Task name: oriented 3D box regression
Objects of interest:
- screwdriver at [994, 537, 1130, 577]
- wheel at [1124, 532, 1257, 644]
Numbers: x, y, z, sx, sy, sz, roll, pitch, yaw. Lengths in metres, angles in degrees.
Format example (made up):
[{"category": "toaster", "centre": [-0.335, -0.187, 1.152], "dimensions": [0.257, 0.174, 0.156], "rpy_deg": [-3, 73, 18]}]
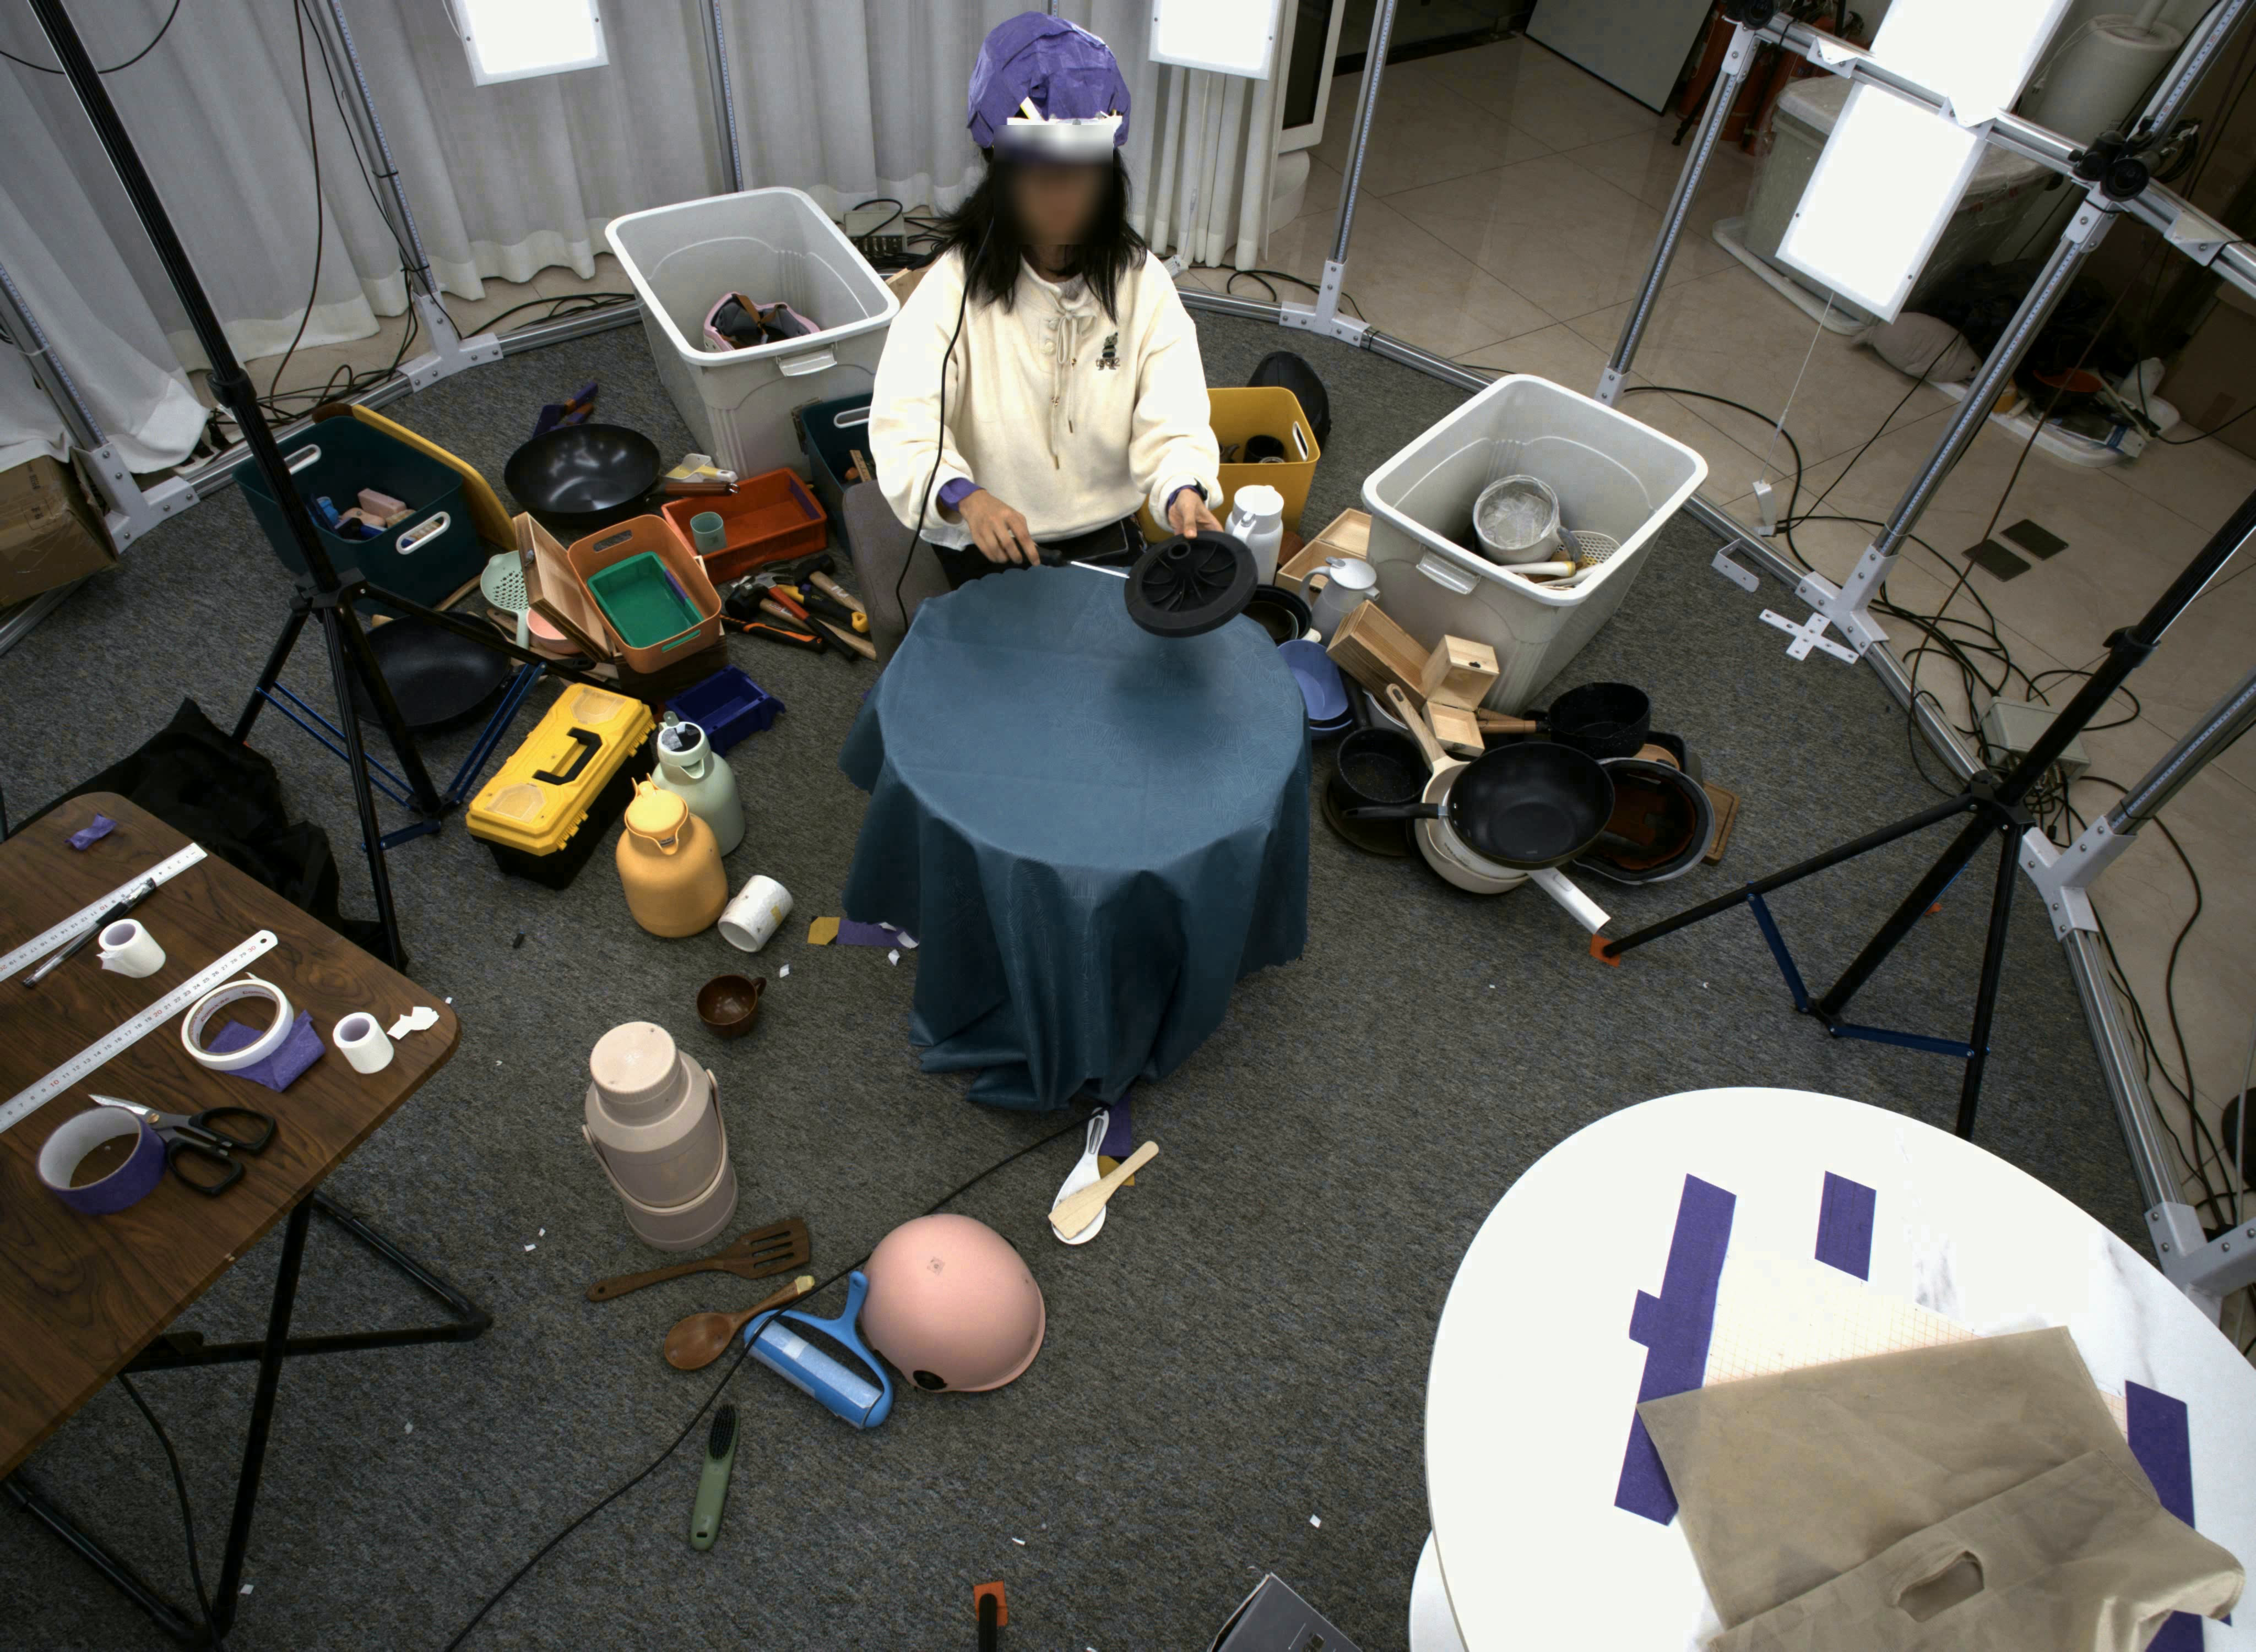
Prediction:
[{"category": "screwdriver", "centre": [-0.091, -0.375, 1.809], "dimensions": [0.196, 0.031, 0.032], "rpy_deg": [11, 49, 1]}, {"category": "wheel", "centre": [0.080, -0.343, 1.763], "dimensions": [0.188, 0.077, 0.193], "rpy_deg": [4, 59, 23]}]
